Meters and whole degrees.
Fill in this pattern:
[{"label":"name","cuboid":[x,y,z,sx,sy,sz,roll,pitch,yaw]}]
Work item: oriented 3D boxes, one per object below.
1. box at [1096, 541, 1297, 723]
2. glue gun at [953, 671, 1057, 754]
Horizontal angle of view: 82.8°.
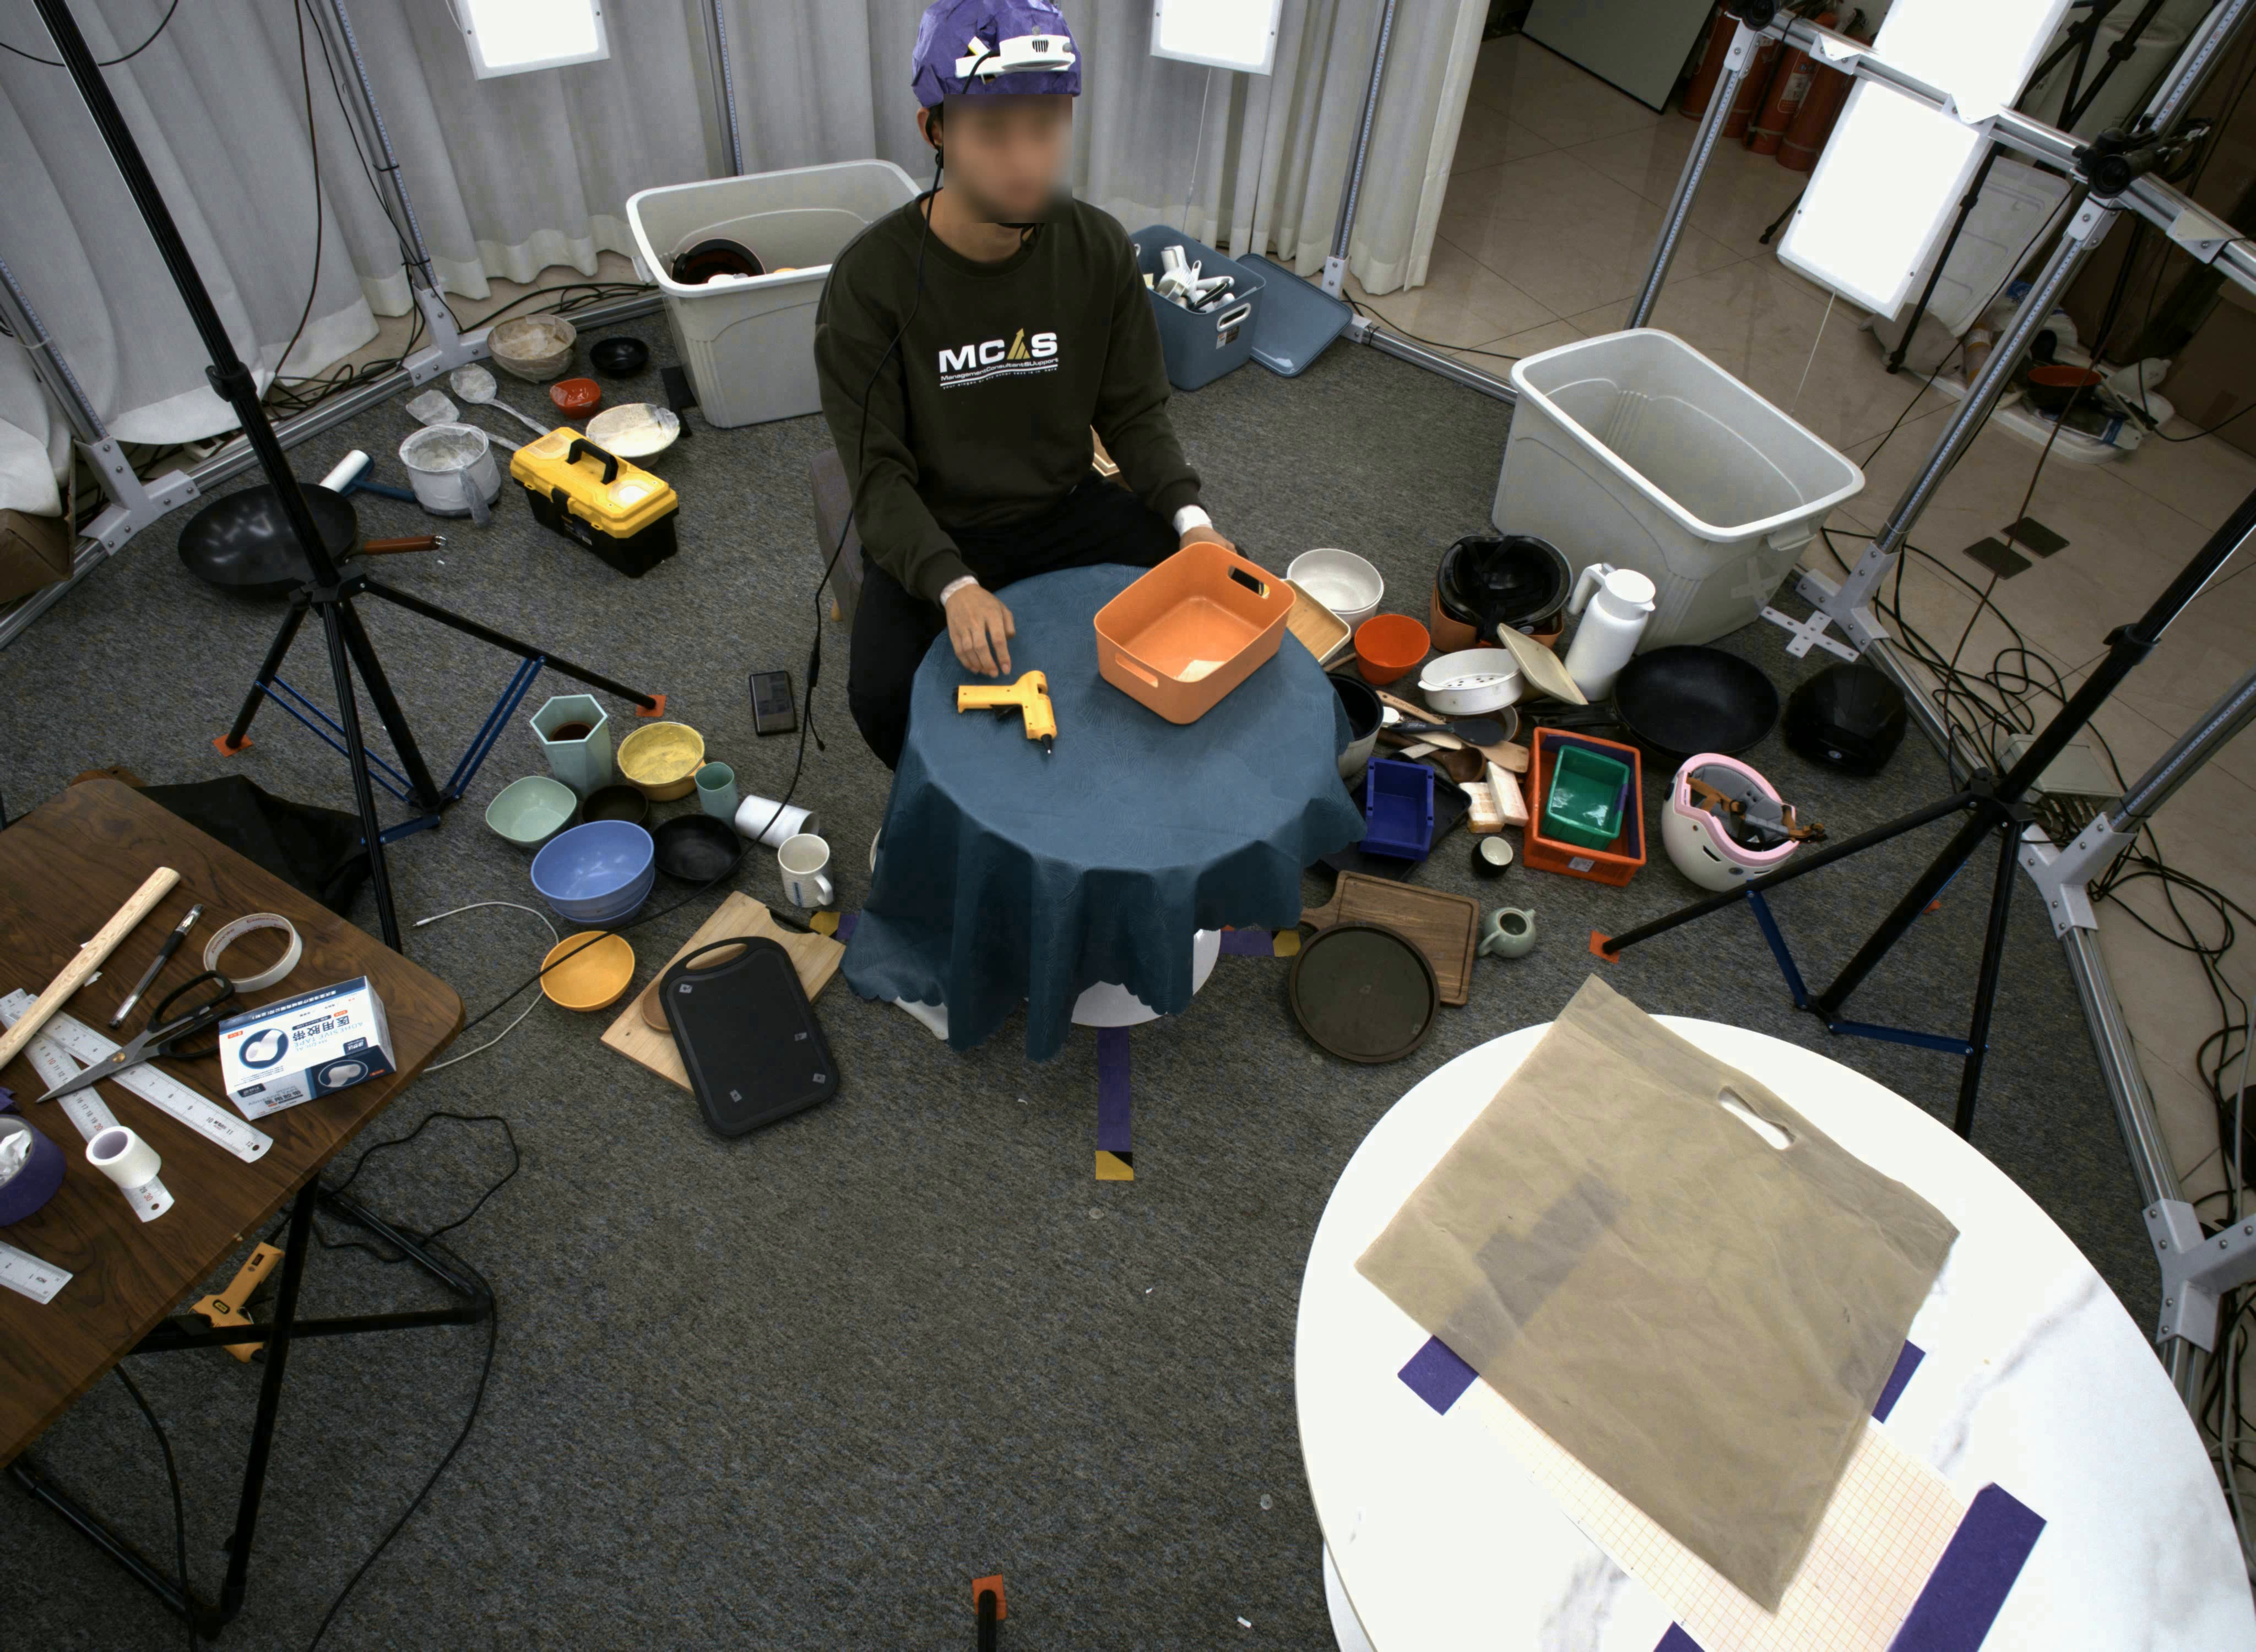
[{"label":"box","cuboid":[0.095,-0.277,1.841,0.202,0.100,0.276,34,55,23]},{"label":"glue gun","cuboid":[-0.162,-0.147,1.760,0.133,0.030,0.155,-10,50,-11]}]
